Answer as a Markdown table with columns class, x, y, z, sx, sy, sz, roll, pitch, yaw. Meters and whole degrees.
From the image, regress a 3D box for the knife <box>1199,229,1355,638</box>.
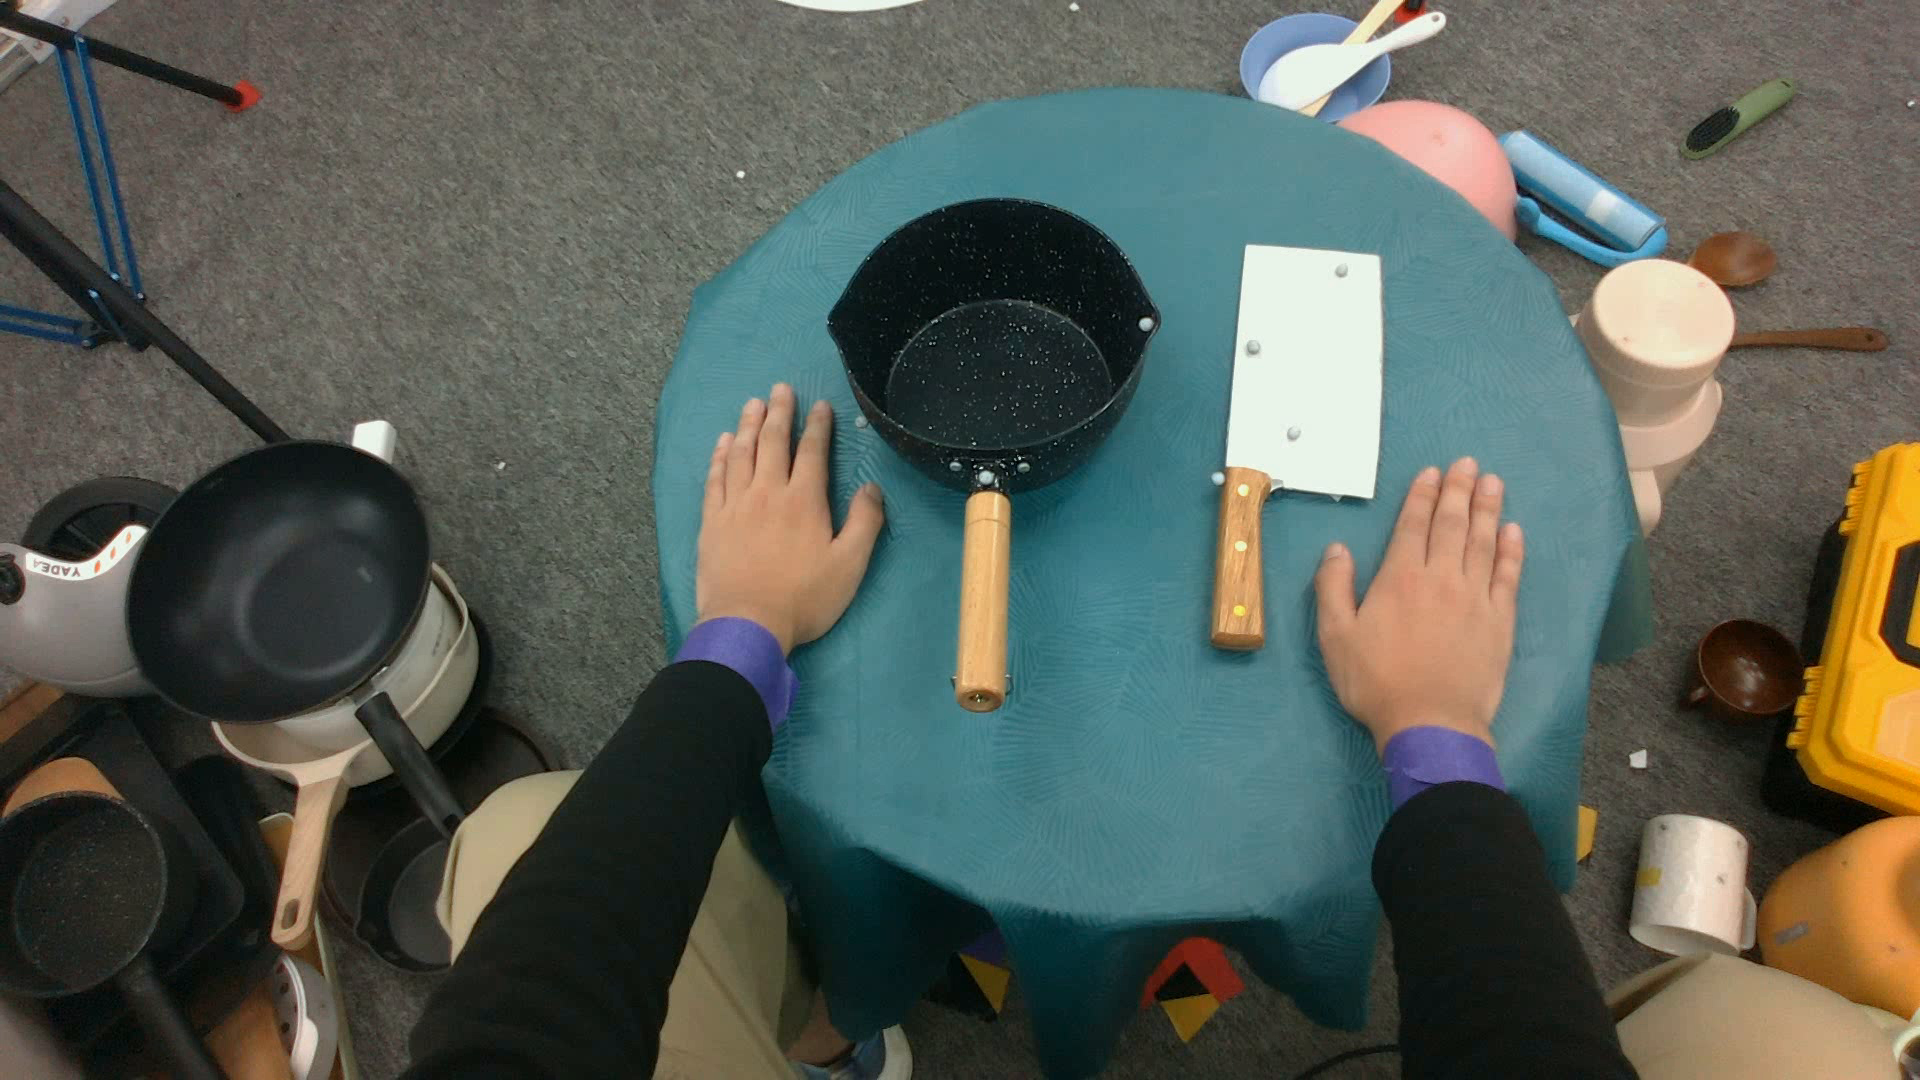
| class | x | y | z | sx | sy | sz | roll | pitch | yaw |
| --- | --- | --- | --- | --- | --- | --- | --- | --- | --- |
| knife | 0.197 | -0.076 | 0.852 | 0.093 | 0.021 | 0.307 | 6 | 61 | 6 |

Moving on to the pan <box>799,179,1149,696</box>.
| class | x | y | z | sx | sy | sz | roll | pitch | yaw |
| --- | --- | --- | --- | --- | --- | --- | --- | --- | --- |
| pan | 0.009 | -0.057 | 0.805 | 0.207 | 0.108 | 0.344 | -2 | 62 | 3 |
